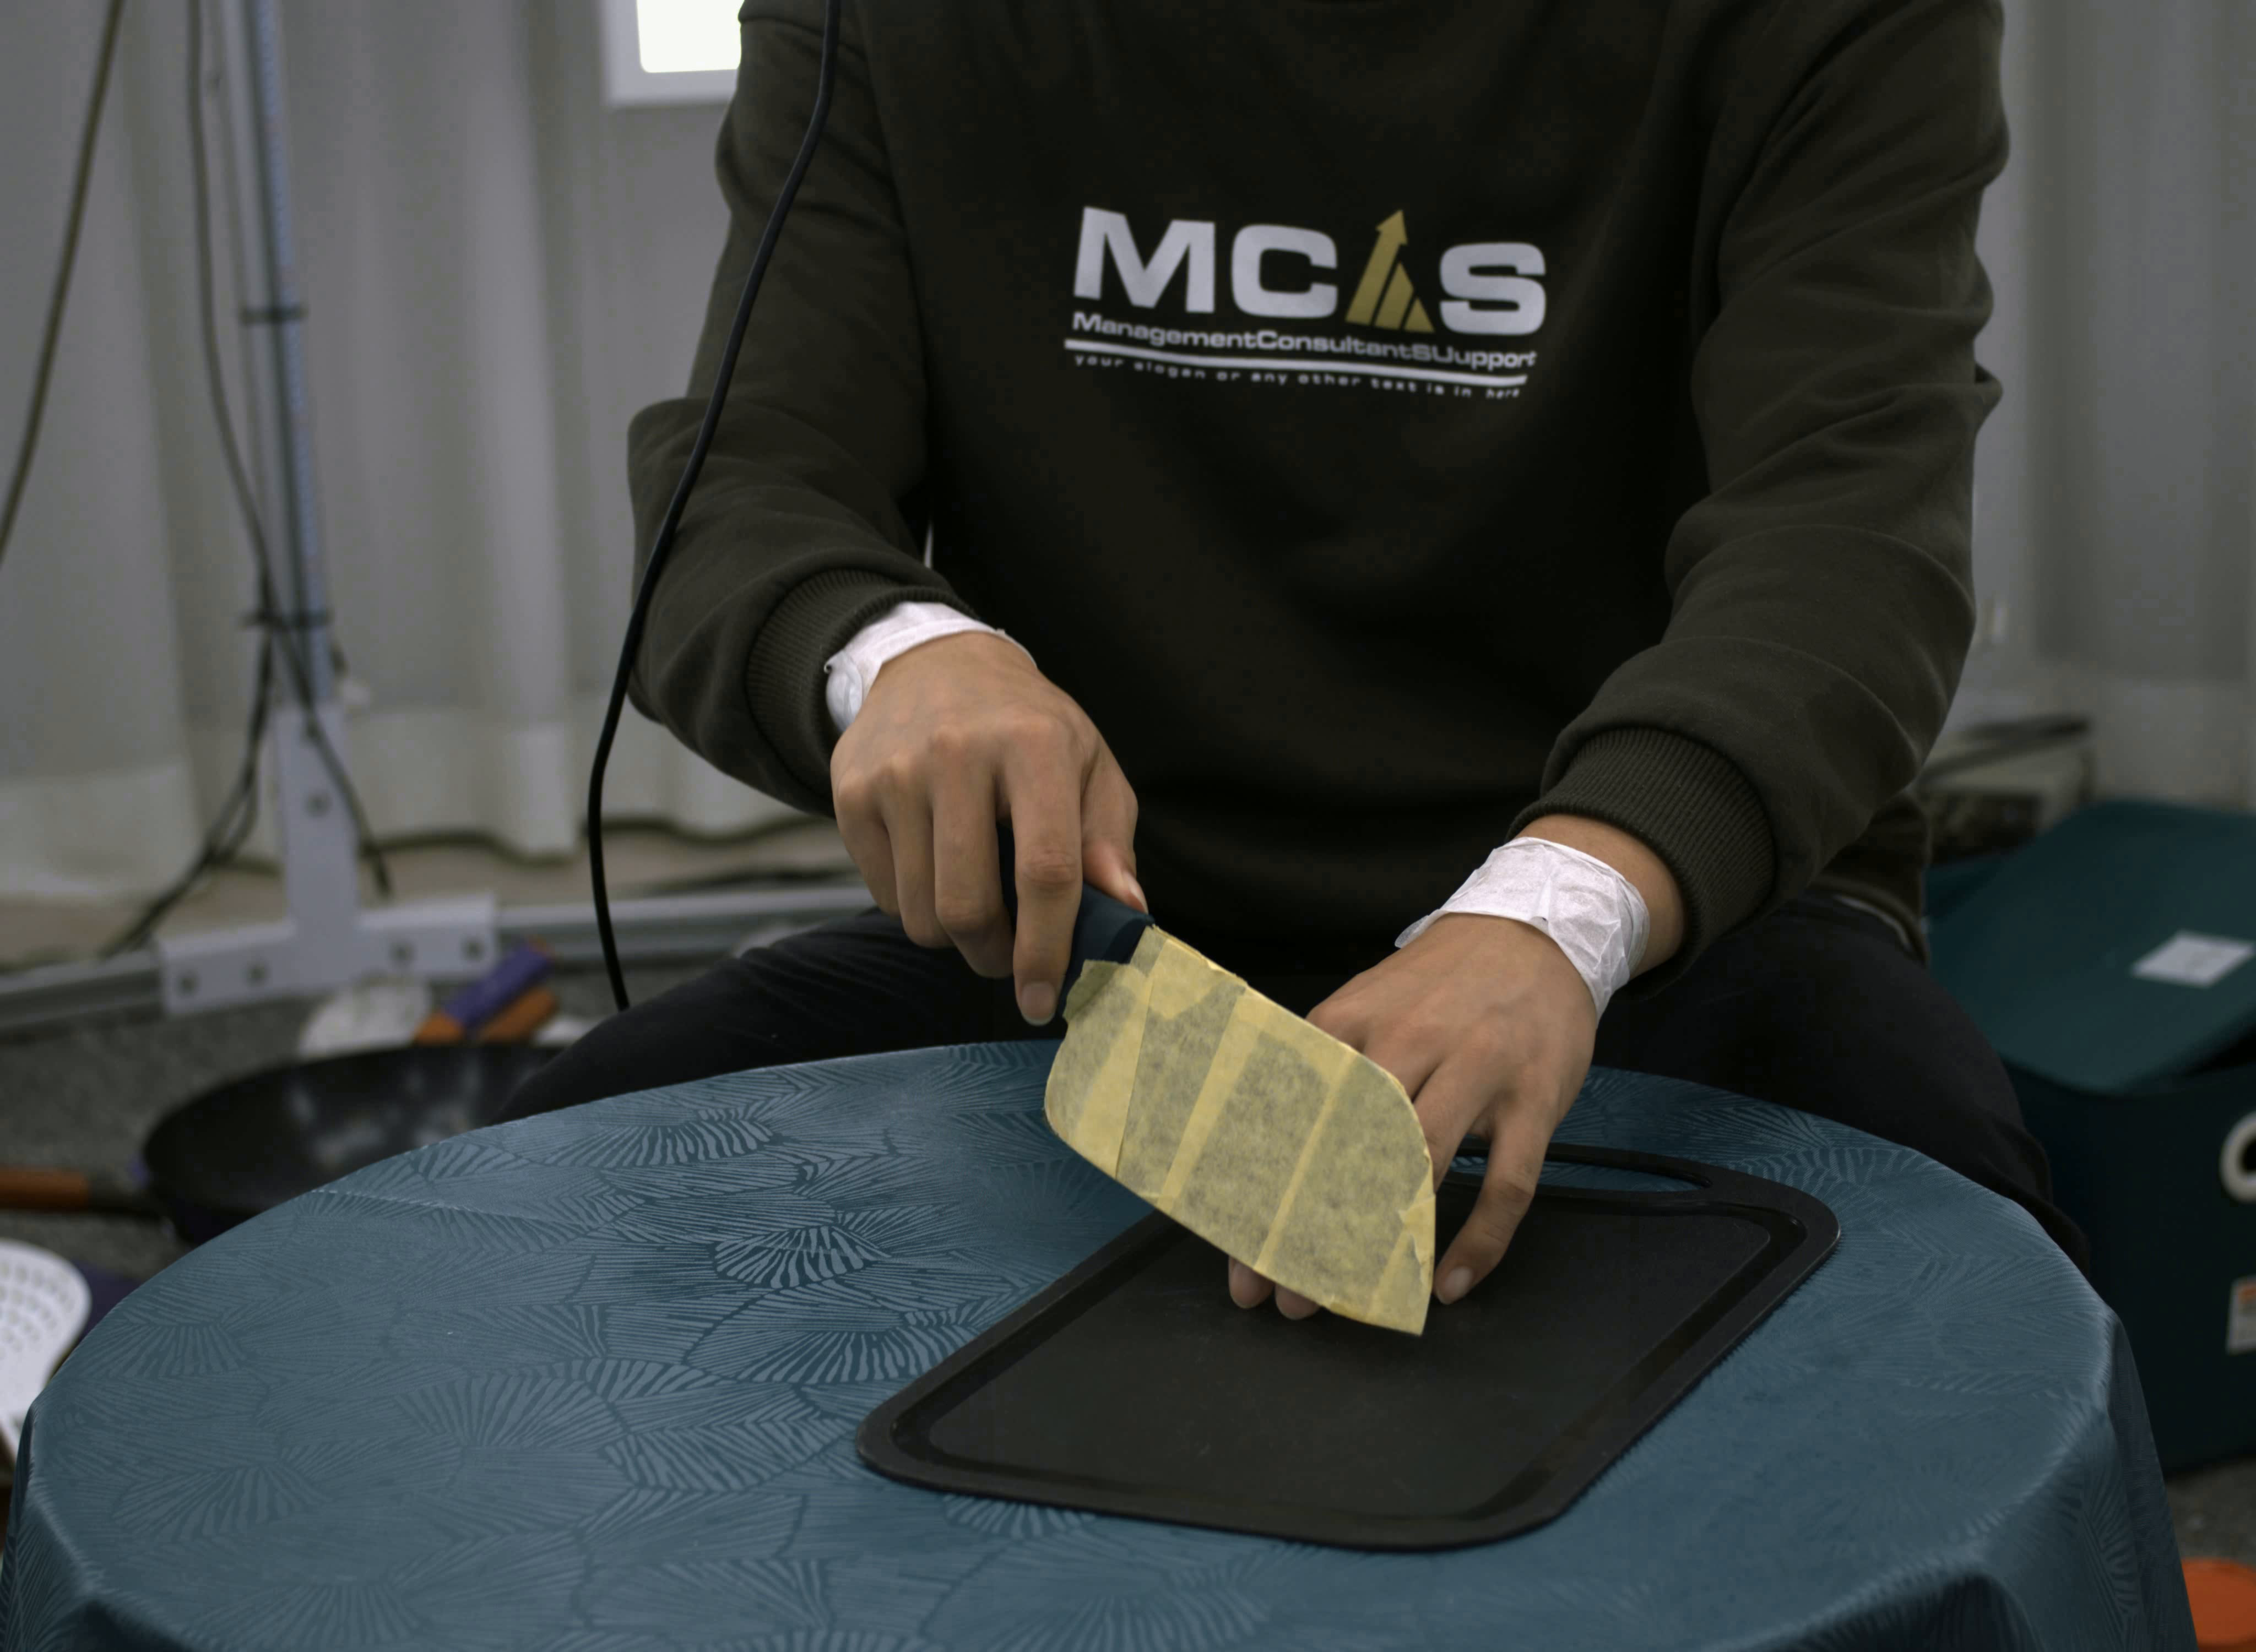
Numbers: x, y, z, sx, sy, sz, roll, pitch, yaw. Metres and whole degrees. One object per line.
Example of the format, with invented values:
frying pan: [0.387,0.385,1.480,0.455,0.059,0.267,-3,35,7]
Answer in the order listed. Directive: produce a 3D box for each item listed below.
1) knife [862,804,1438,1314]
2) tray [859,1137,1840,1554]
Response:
knife: [0.001,0.066,1.643,0.027,0.081,0.293,19,11,-43]
tray: [0.073,0.141,1.589,0.211,0.010,0.326,5,17,26]
